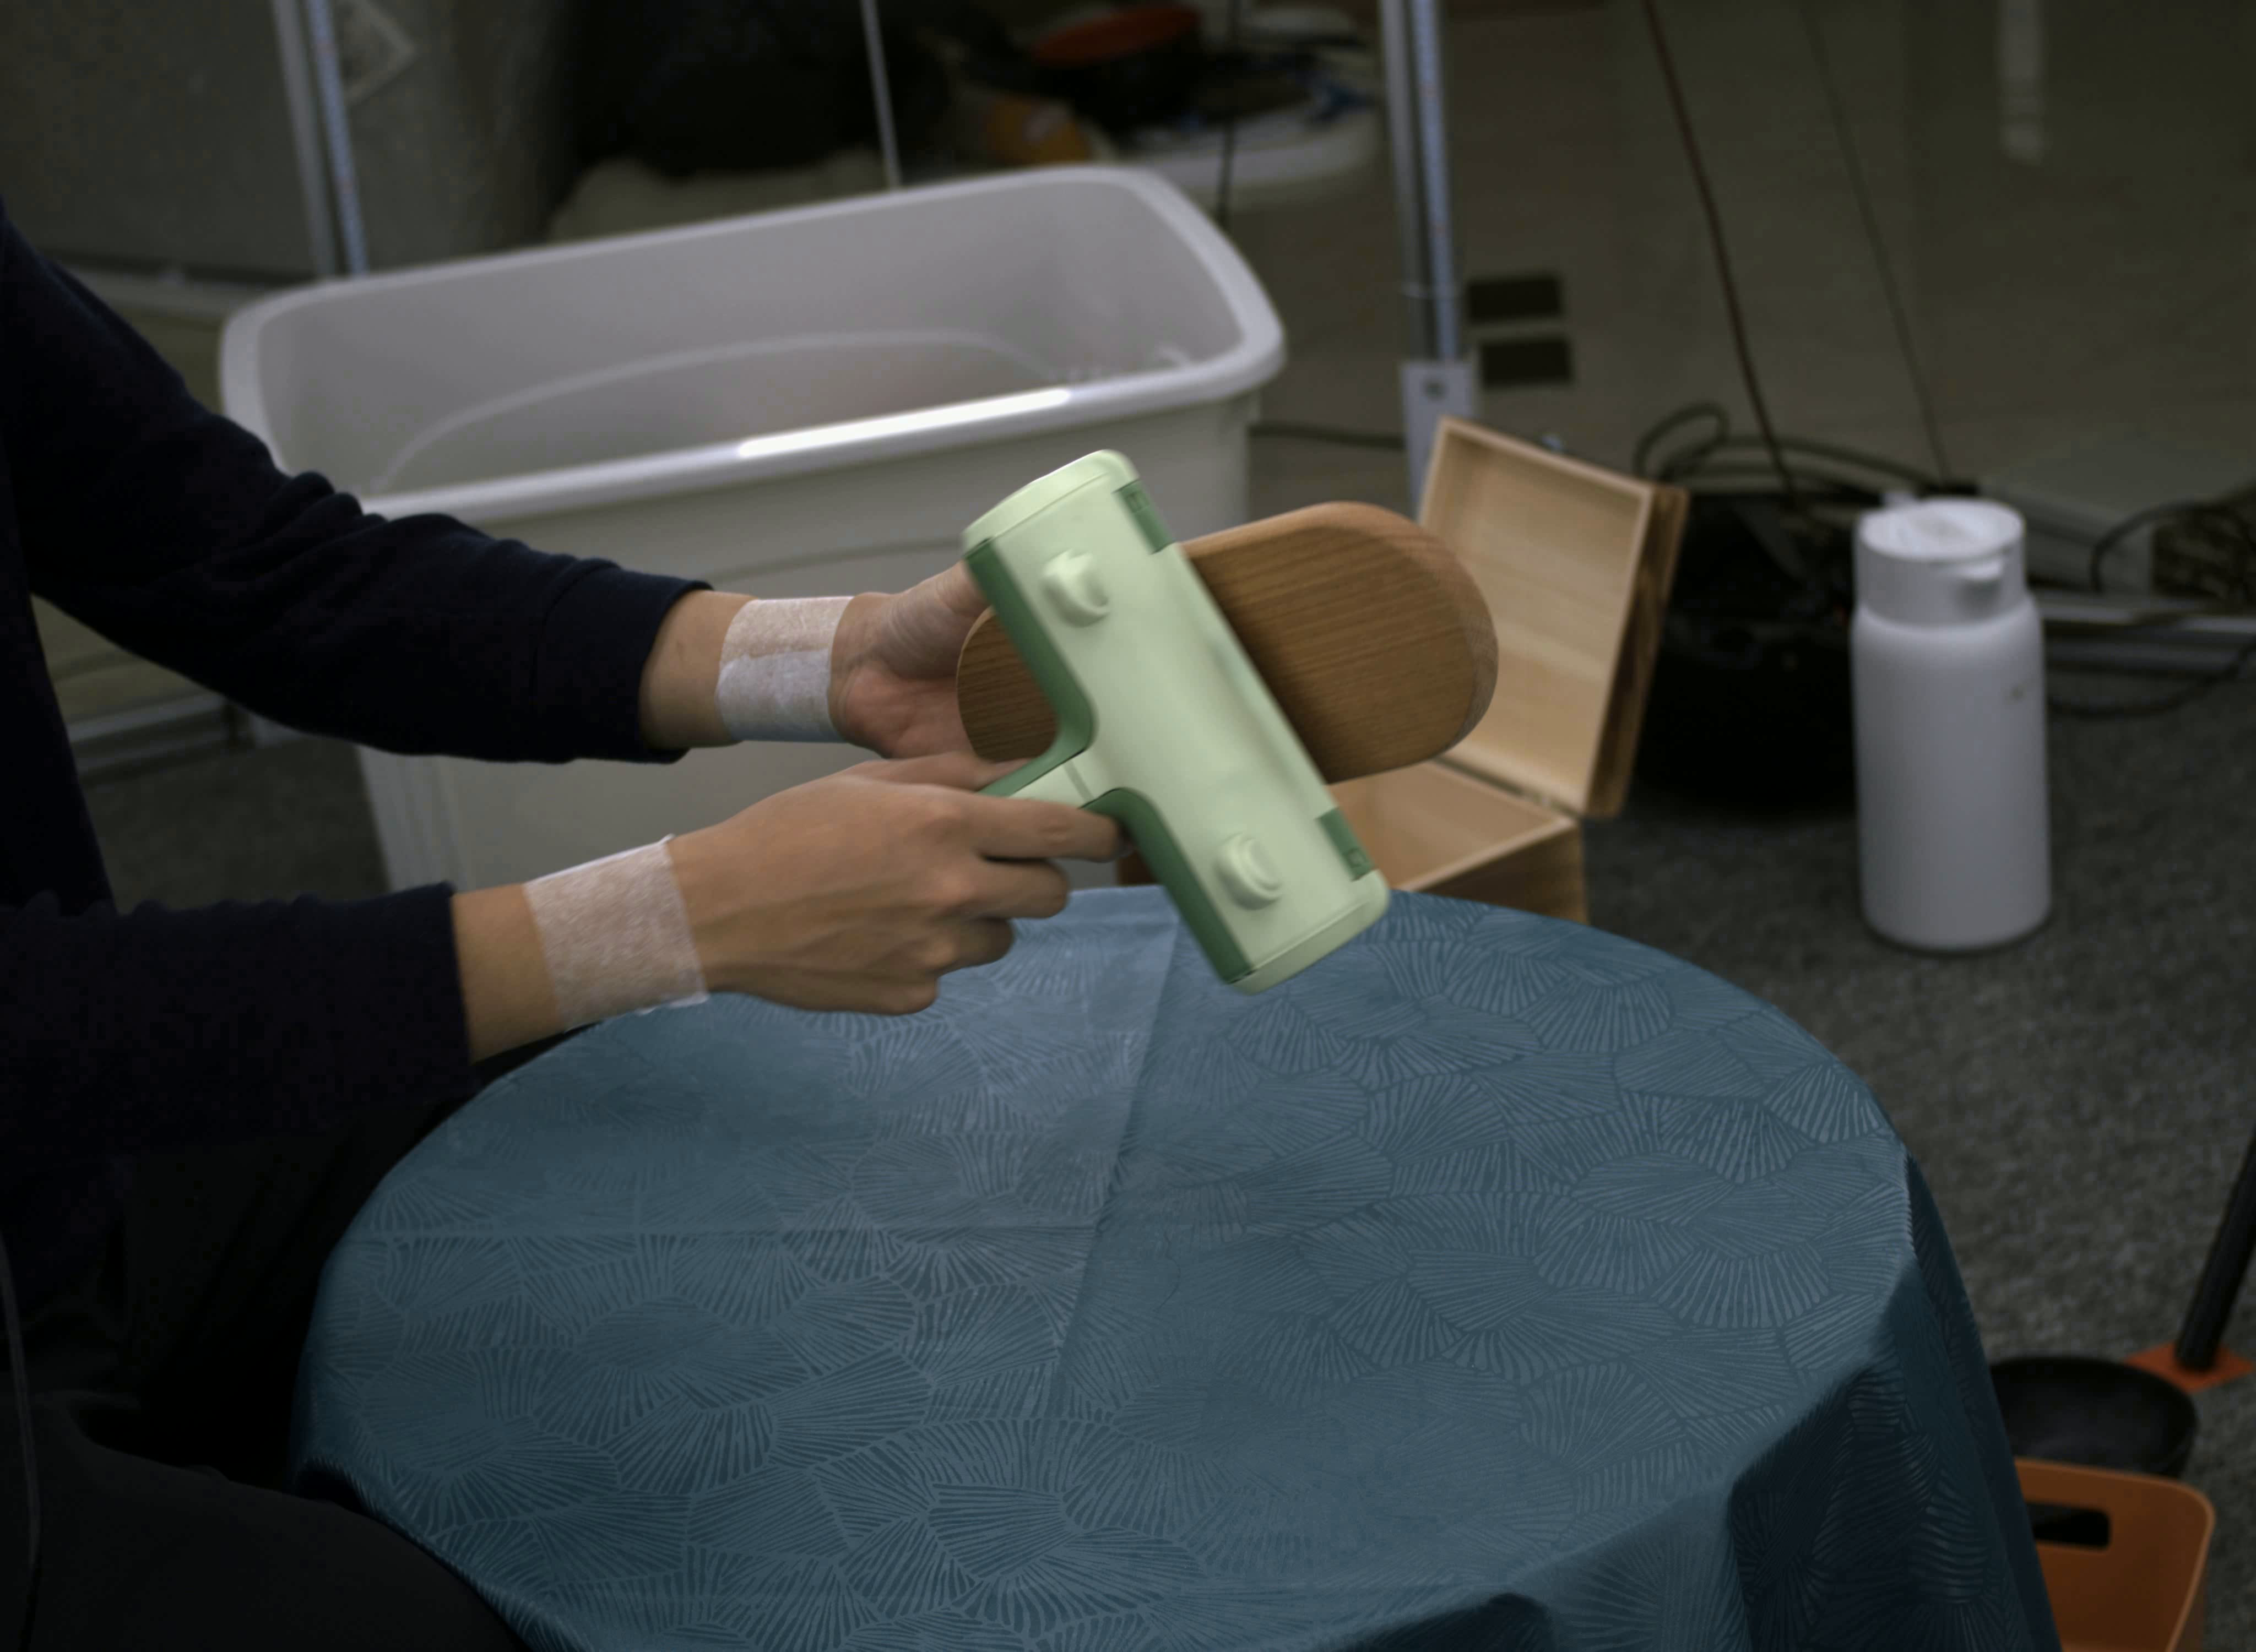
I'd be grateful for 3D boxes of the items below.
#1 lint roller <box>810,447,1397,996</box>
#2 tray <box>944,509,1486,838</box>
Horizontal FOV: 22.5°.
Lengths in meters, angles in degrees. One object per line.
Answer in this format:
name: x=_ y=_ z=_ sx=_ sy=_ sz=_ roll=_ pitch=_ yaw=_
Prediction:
lint roller: x=-0.029 y=-0.008 z=1.977 sx=0.182 sy=0.199 sz=0.082 roll=-32 pitch=2 yaw=-10
tray: x=0.027 y=-0.052 z=2.029 sx=0.231 sy=0.103 sz=0.020 roll=-13 pitch=20 yaw=37
